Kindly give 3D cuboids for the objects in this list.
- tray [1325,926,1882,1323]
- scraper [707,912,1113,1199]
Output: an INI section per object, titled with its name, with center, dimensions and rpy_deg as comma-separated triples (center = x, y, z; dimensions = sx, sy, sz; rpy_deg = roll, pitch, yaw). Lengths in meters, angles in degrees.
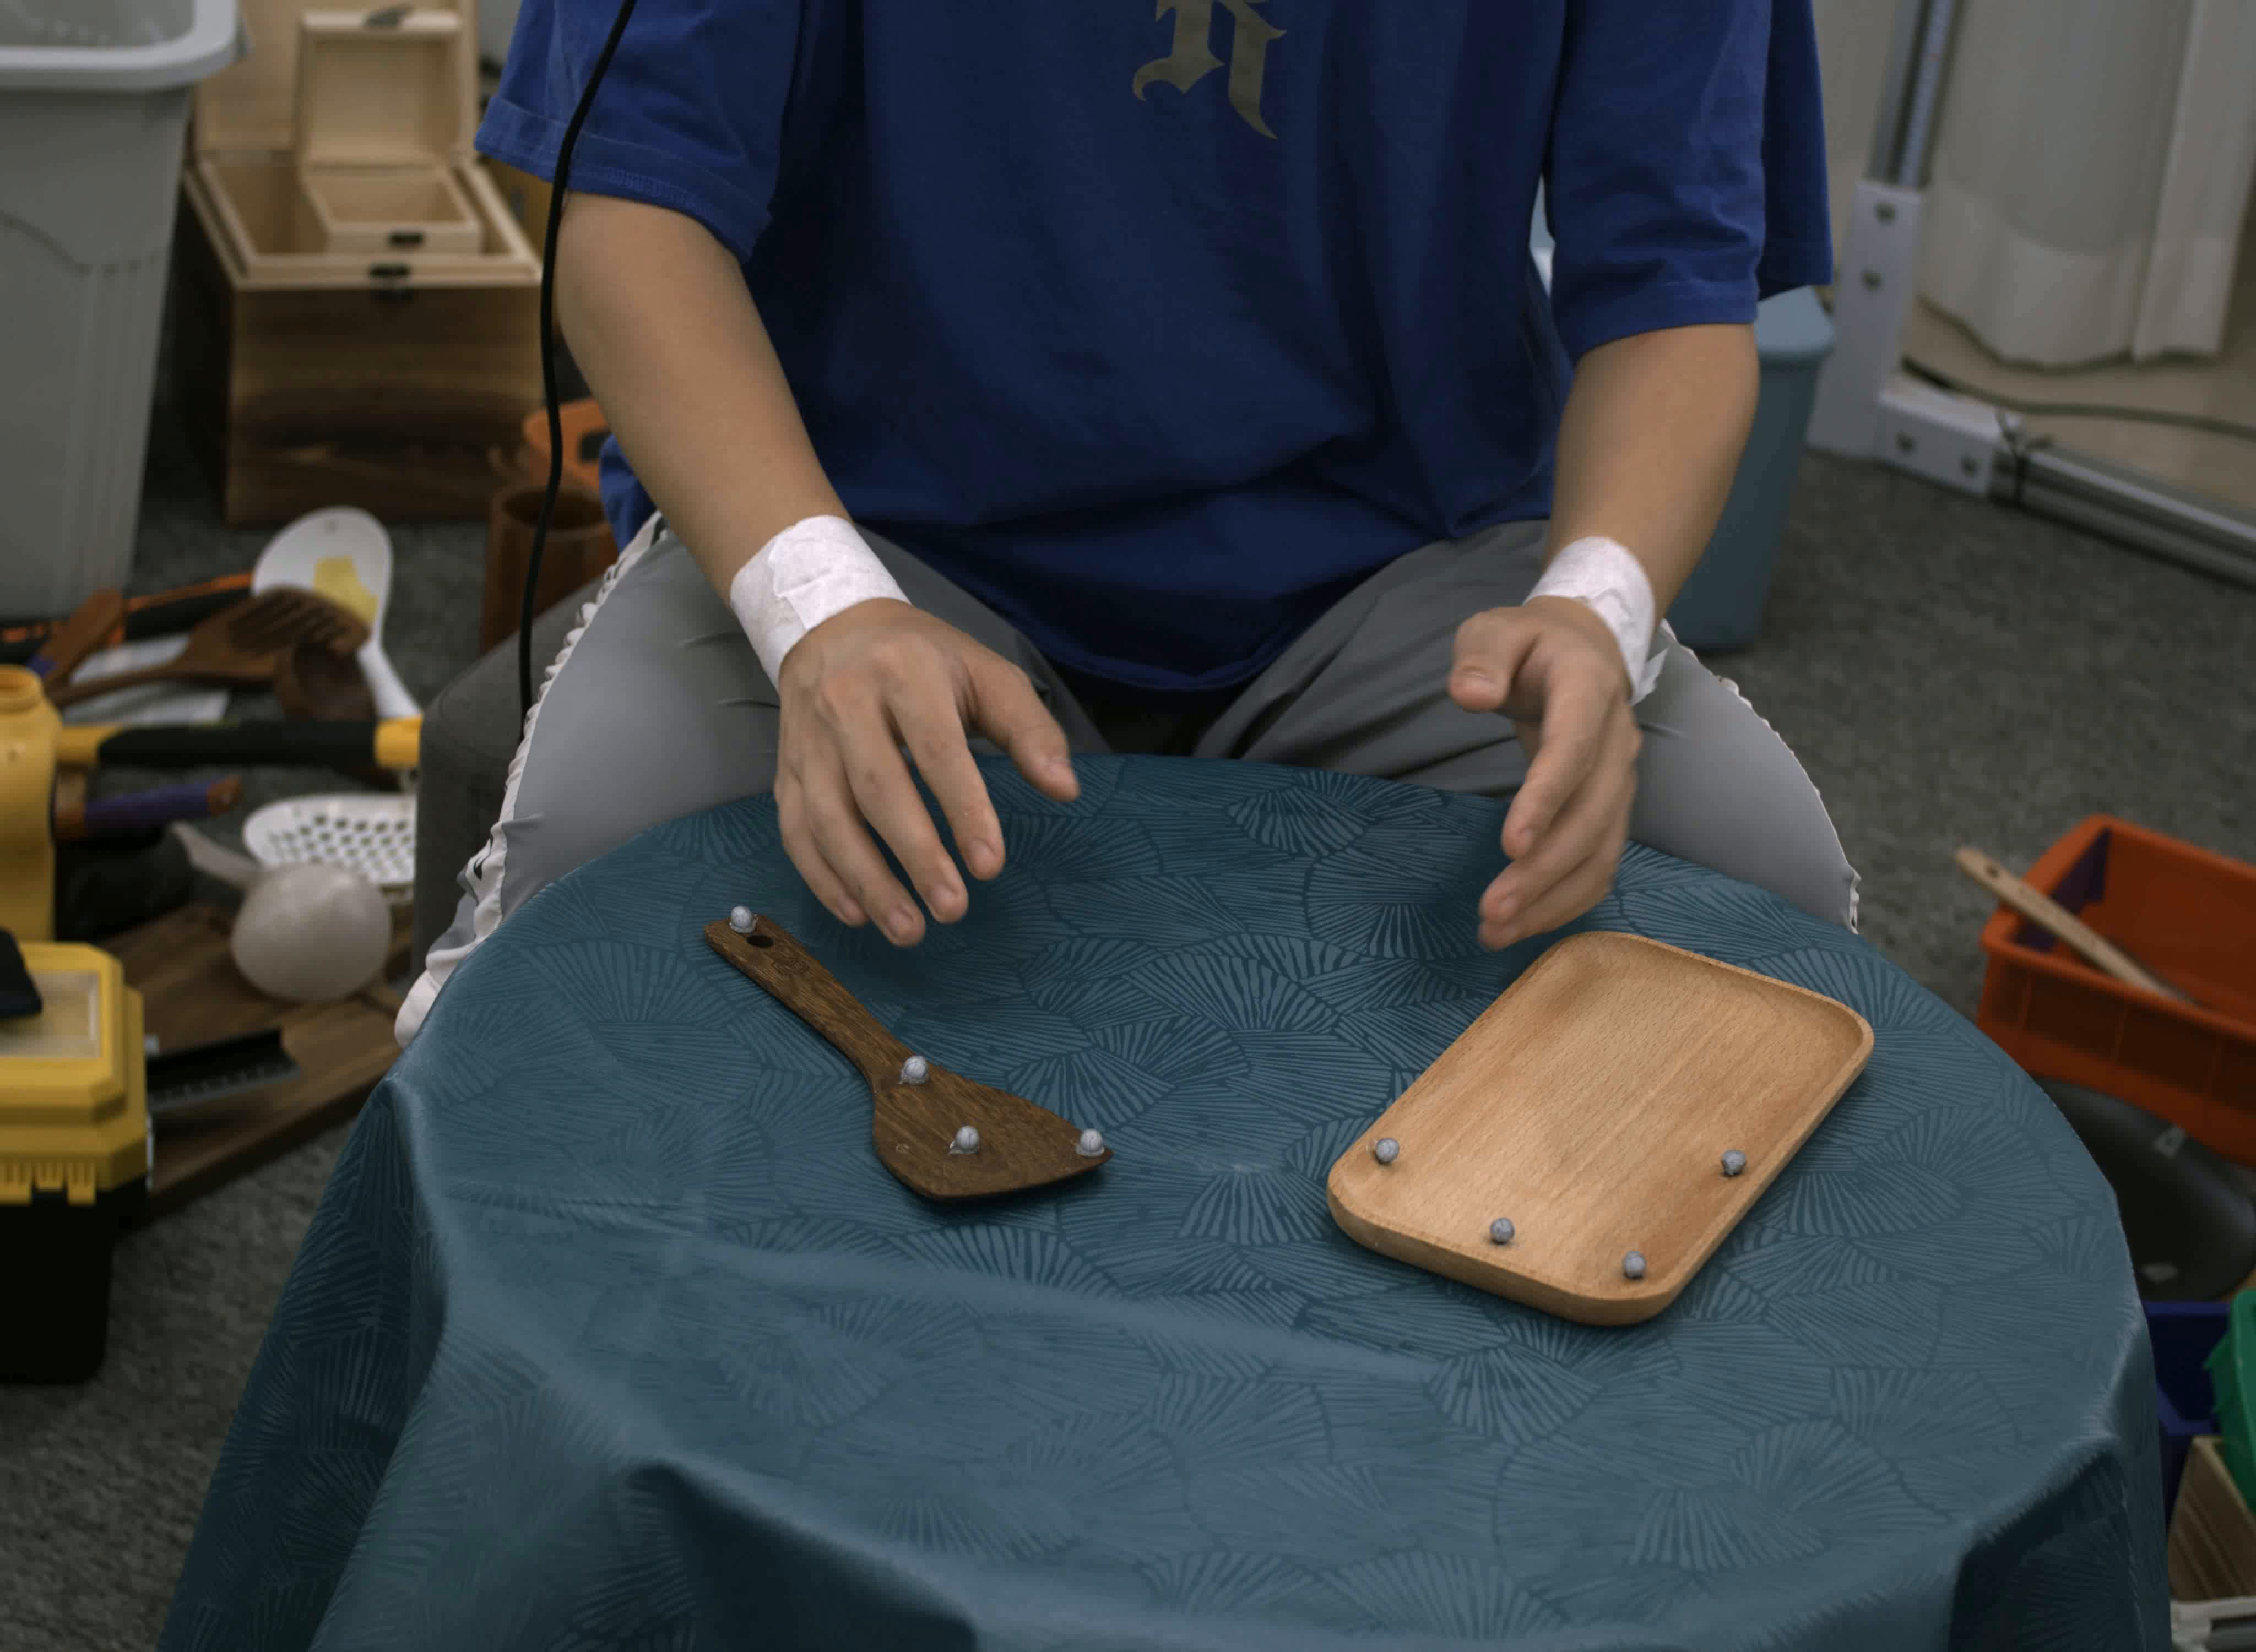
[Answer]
[tray]
center = 0.169, 0.102, 1.865
dimensions = 0.131, 0.023, 0.250
rpy_deg = 21, 29, 21
[scraper]
center = -0.088, 0.079, 1.862
dimensions = 0.075, 0.011, 0.213
rpy_deg = -10, 31, -32
